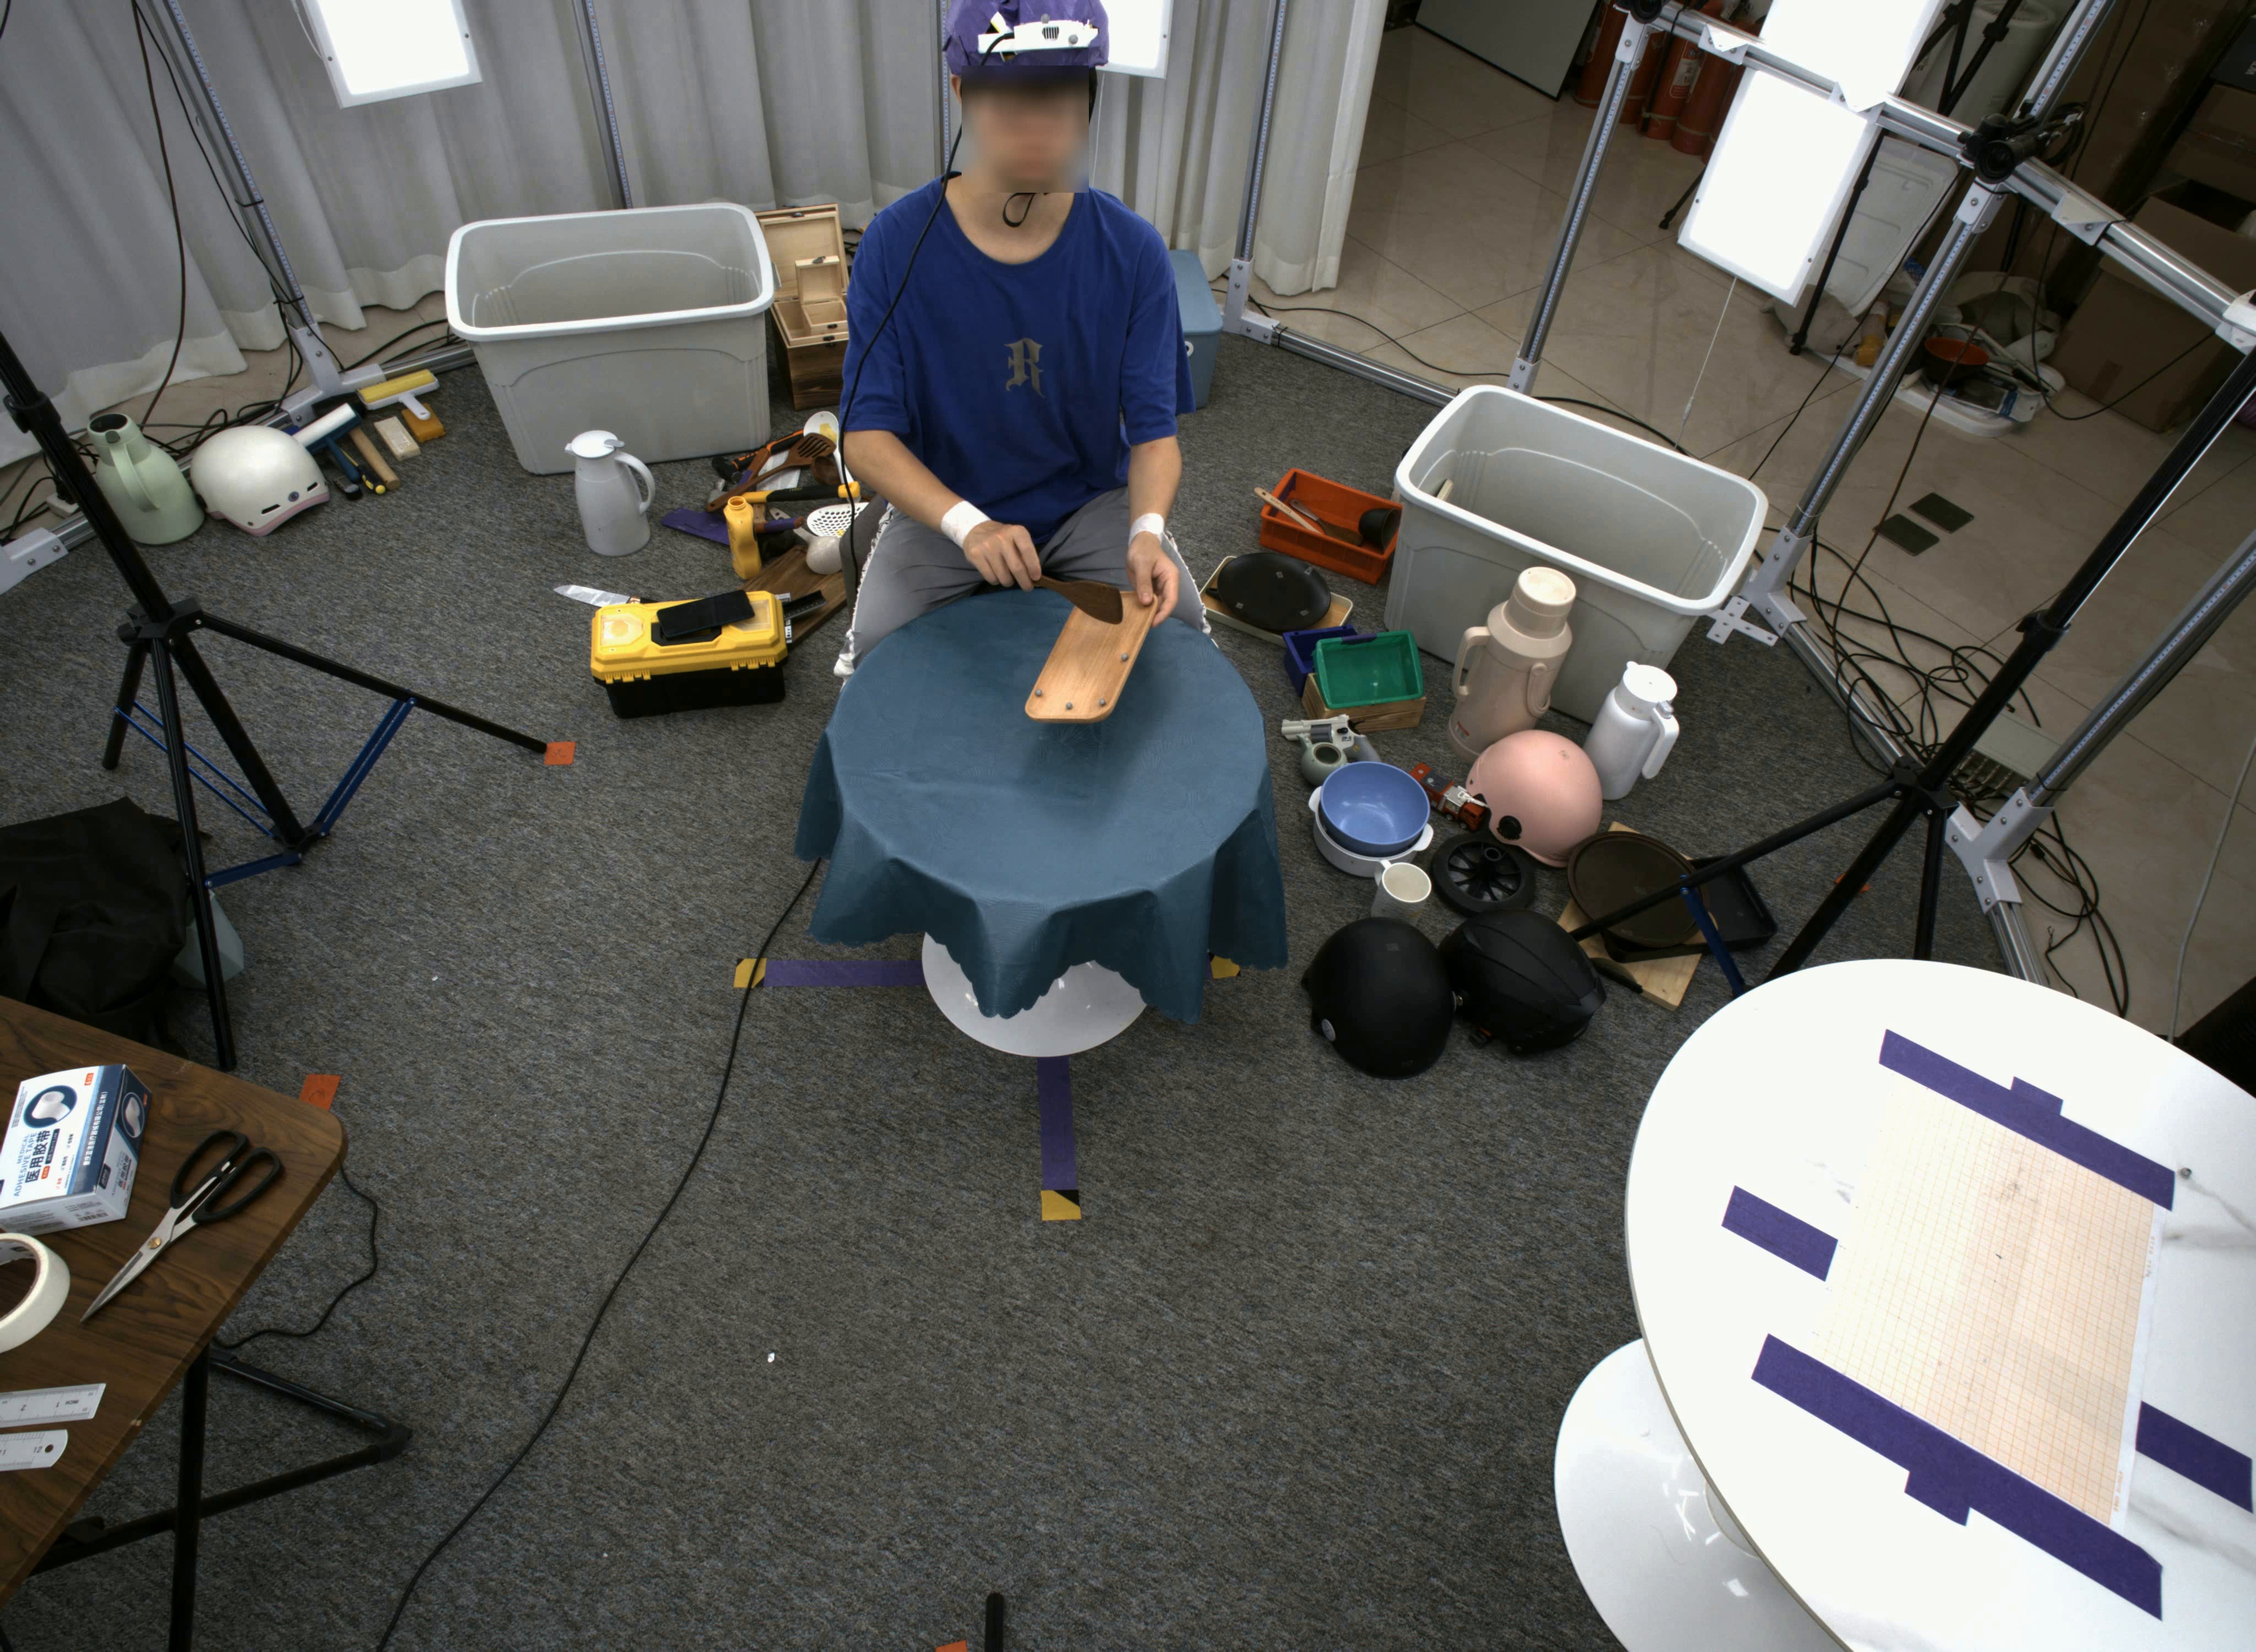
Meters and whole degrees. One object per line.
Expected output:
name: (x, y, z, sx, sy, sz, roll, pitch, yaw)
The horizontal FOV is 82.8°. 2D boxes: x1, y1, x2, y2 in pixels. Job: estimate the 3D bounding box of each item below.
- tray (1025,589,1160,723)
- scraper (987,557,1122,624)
tray: (-0.045, -0.232, 1.733, 0.131, 0.022, 0.256, 5, 51, 24)
scraper: (-0.102, -0.327, 1.746, 0.213, 0.074, 0.011, 22, 60, 22)
